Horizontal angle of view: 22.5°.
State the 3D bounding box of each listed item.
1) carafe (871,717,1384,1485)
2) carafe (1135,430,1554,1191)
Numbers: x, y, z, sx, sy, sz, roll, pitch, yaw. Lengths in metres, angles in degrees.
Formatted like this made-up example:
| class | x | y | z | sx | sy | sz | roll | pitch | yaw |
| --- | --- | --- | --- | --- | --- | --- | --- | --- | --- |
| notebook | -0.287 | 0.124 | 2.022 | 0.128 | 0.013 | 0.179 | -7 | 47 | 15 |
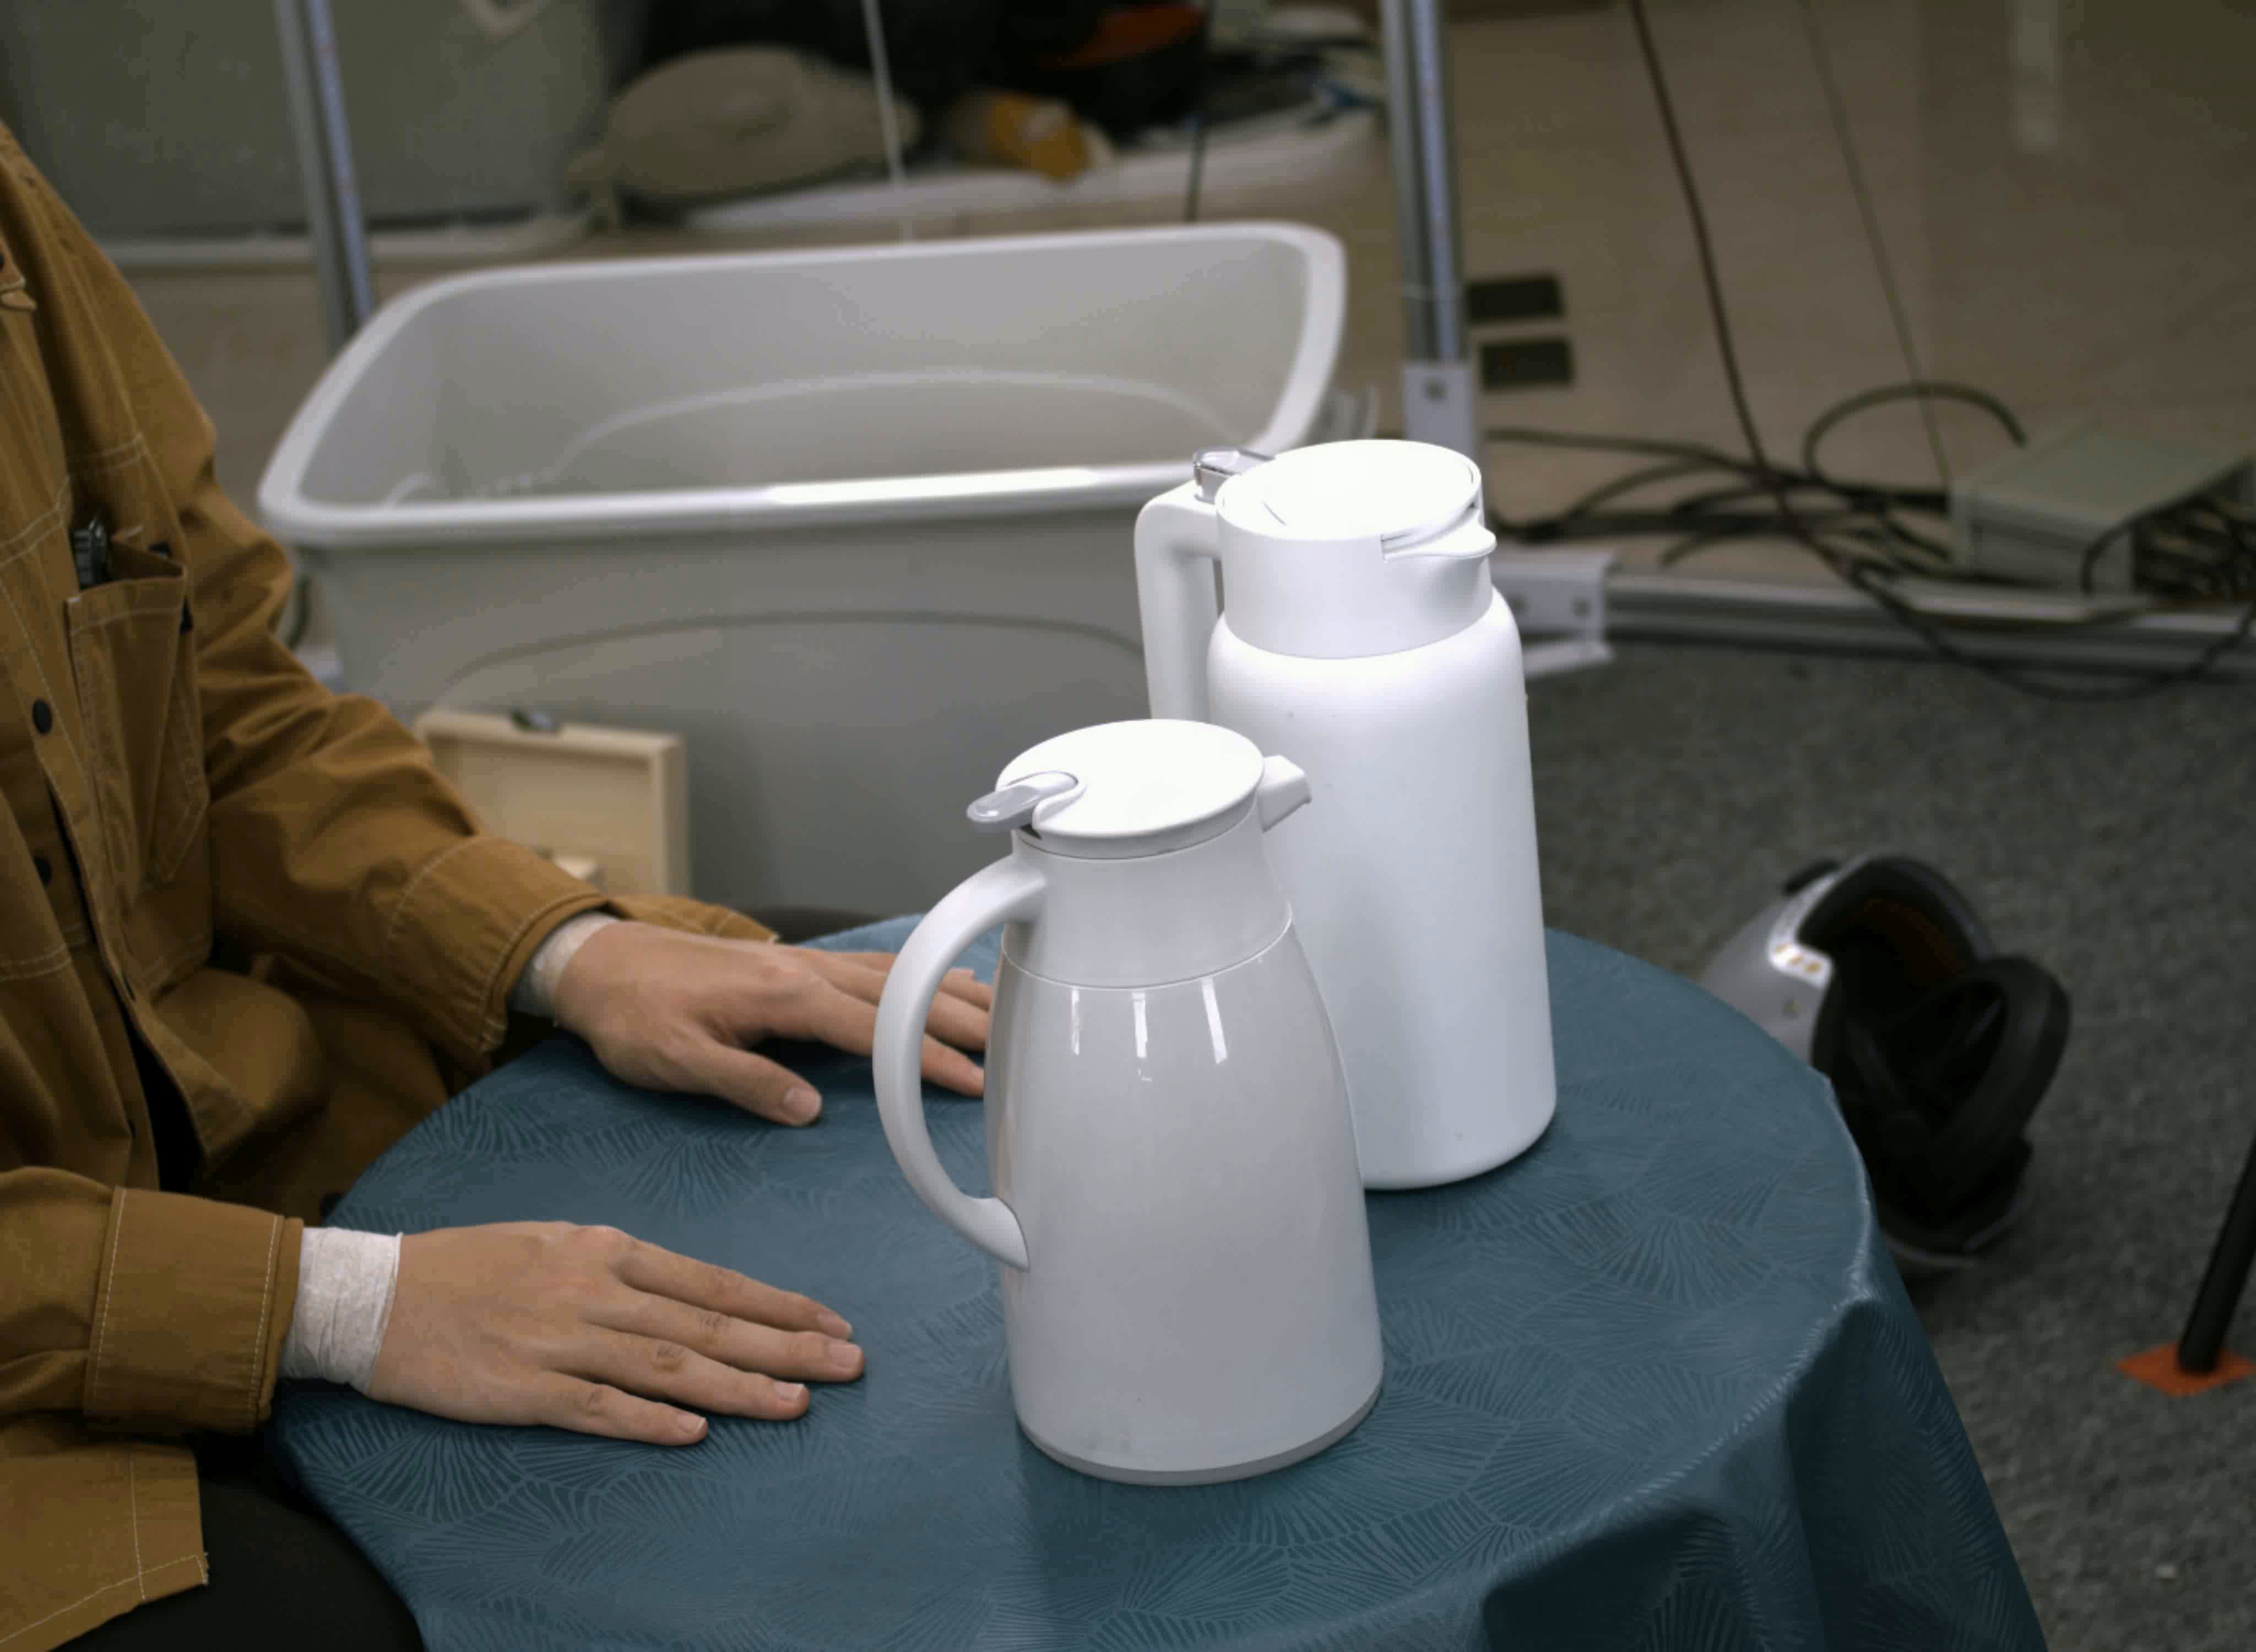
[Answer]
| class | x | y | z | sx | sy | sz | roll | pitch | yaw |
| --- | --- | --- | --- | --- | --- | --- | --- | --- | --- |
| carafe | -0.005 | 0.094 | 1.950 | 0.167 | 0.252 | 0.131 | -18 | 28 | -21 |
| carafe | 0.080 | -0.008 | 2.124 | 0.171 | 0.273 | 0.122 | 18 | 37 | 41 |
